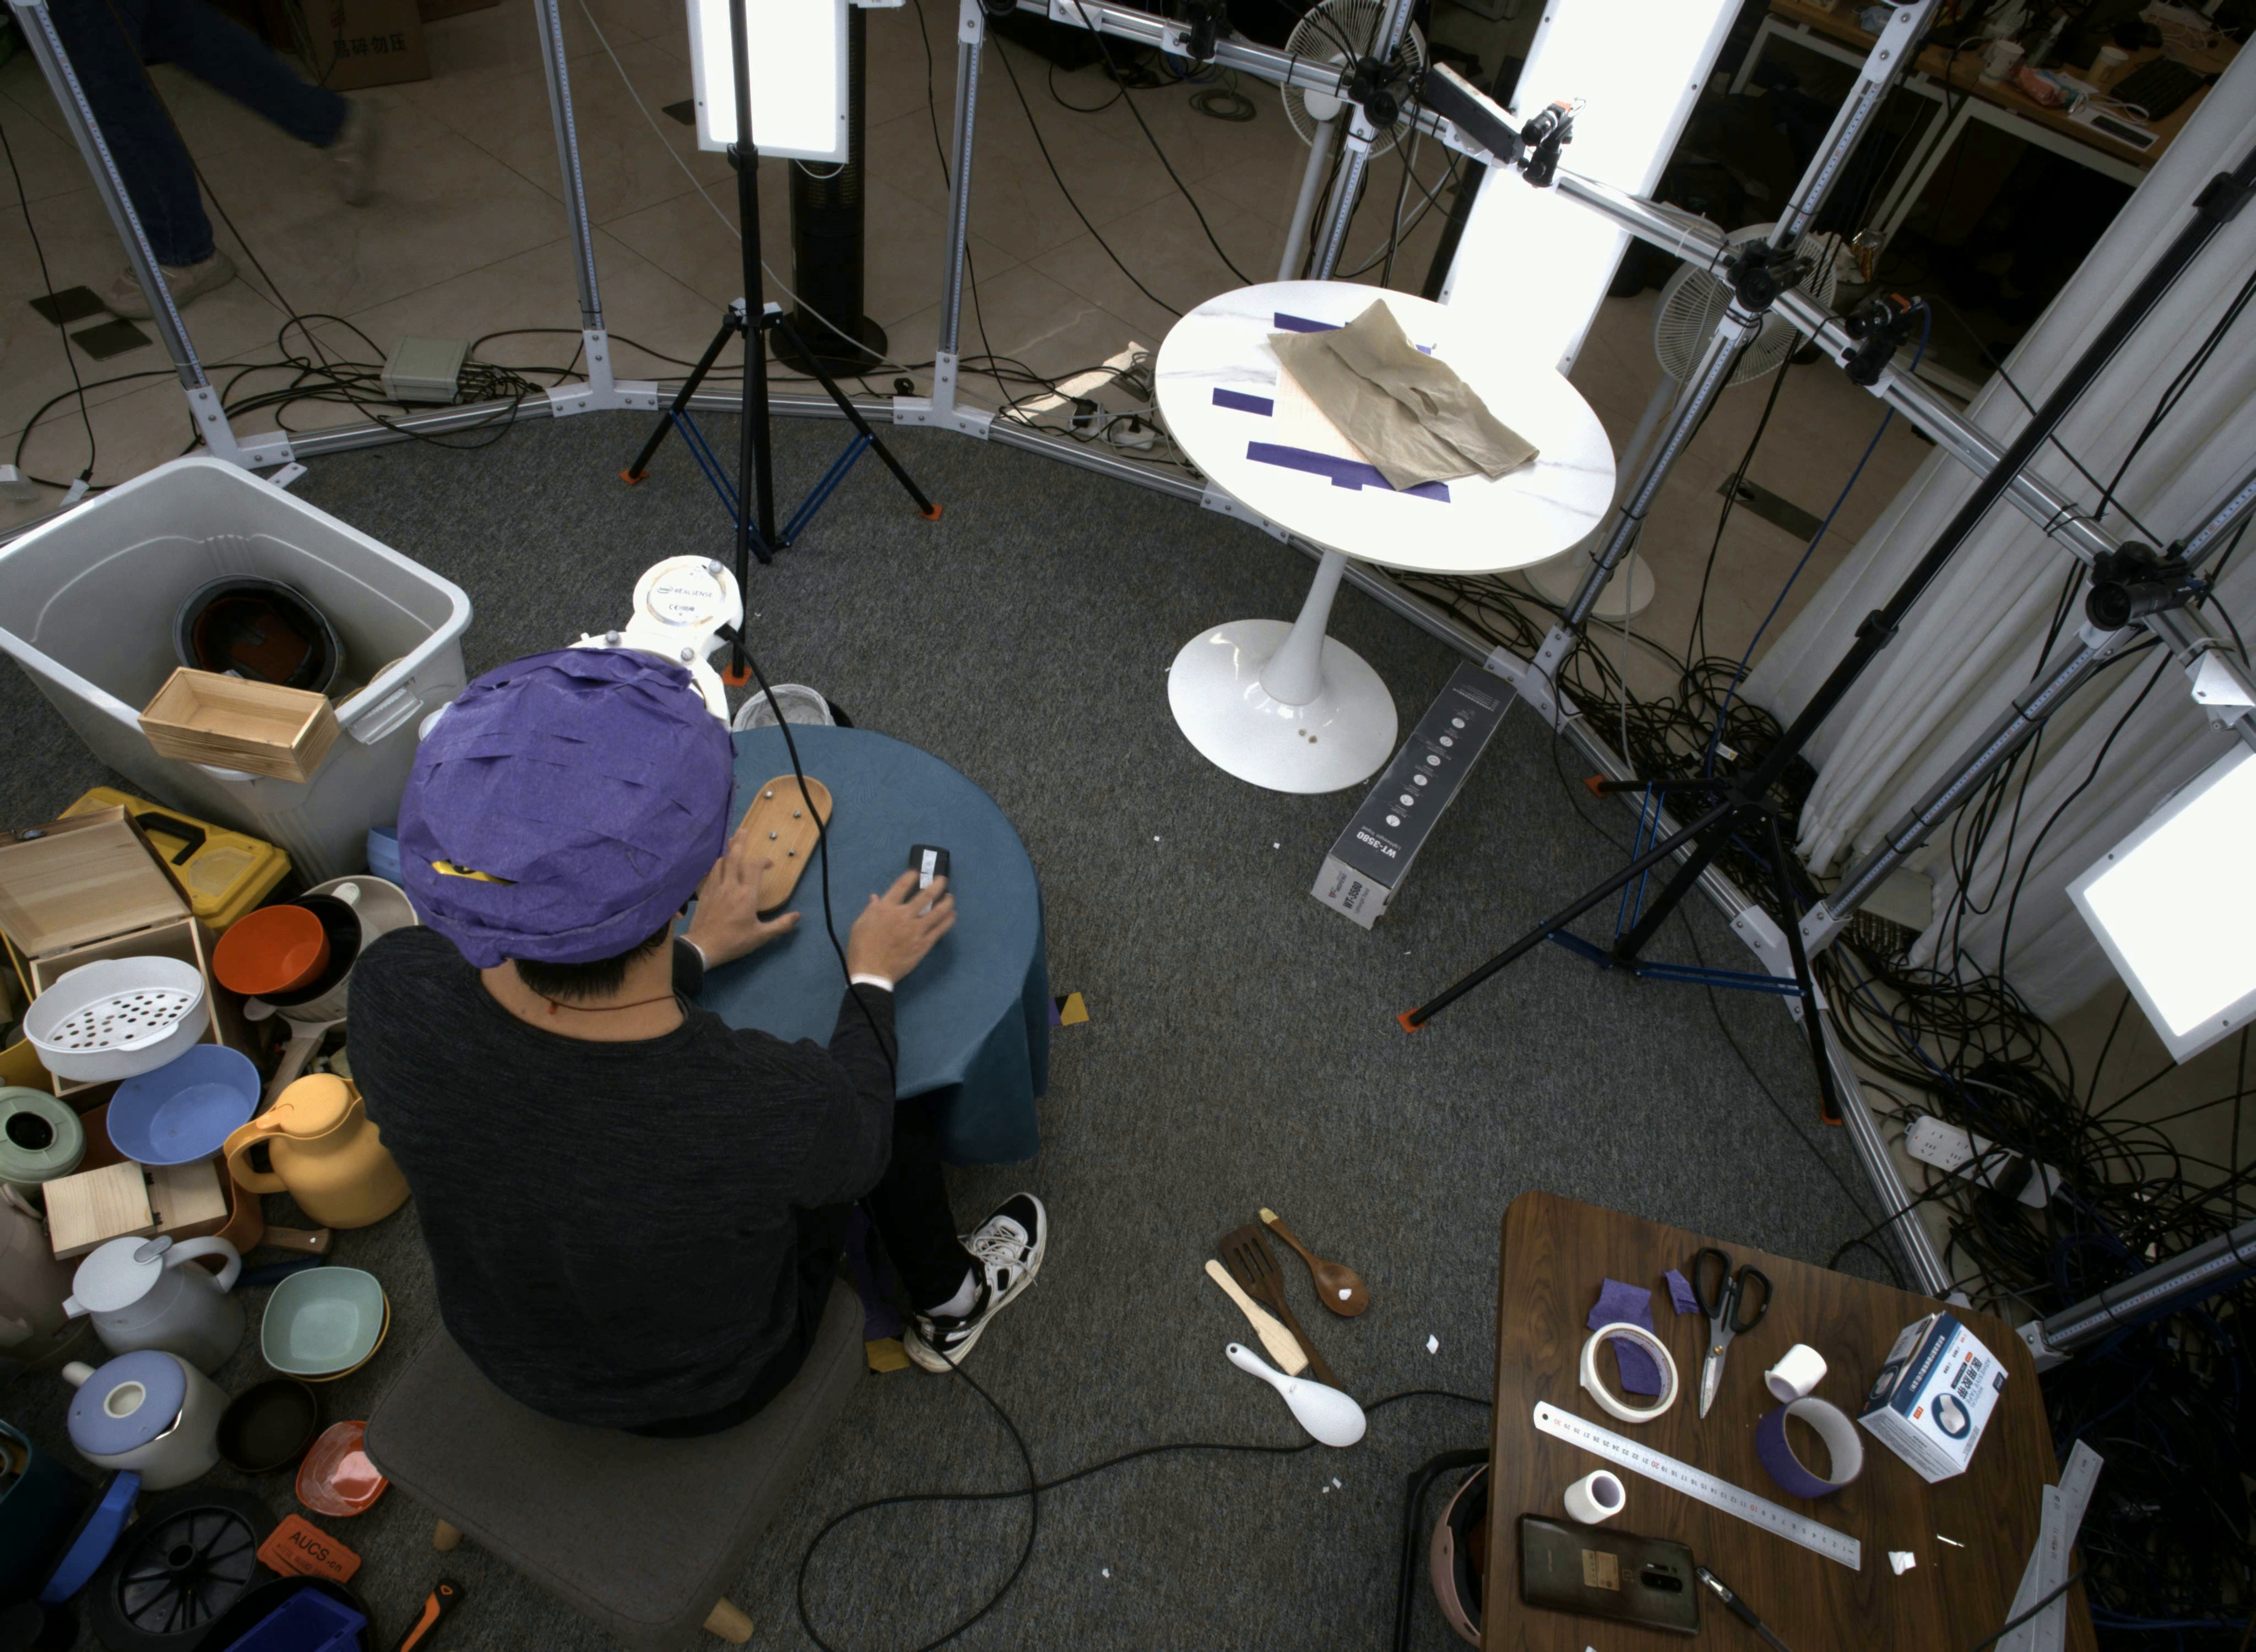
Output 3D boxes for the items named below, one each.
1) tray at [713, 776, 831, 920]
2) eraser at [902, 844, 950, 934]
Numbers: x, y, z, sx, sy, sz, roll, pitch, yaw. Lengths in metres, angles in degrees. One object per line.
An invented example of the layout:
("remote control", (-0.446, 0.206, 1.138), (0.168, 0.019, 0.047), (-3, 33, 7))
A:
("tray", (-0.460, 0.025, 1.680), (0.101, 0.021, 0.228), (16, 53, -1))
("eraser", (-0.261, 0.078, 1.685), (0.053, 0.031, 0.123), (4, 54, -8))
